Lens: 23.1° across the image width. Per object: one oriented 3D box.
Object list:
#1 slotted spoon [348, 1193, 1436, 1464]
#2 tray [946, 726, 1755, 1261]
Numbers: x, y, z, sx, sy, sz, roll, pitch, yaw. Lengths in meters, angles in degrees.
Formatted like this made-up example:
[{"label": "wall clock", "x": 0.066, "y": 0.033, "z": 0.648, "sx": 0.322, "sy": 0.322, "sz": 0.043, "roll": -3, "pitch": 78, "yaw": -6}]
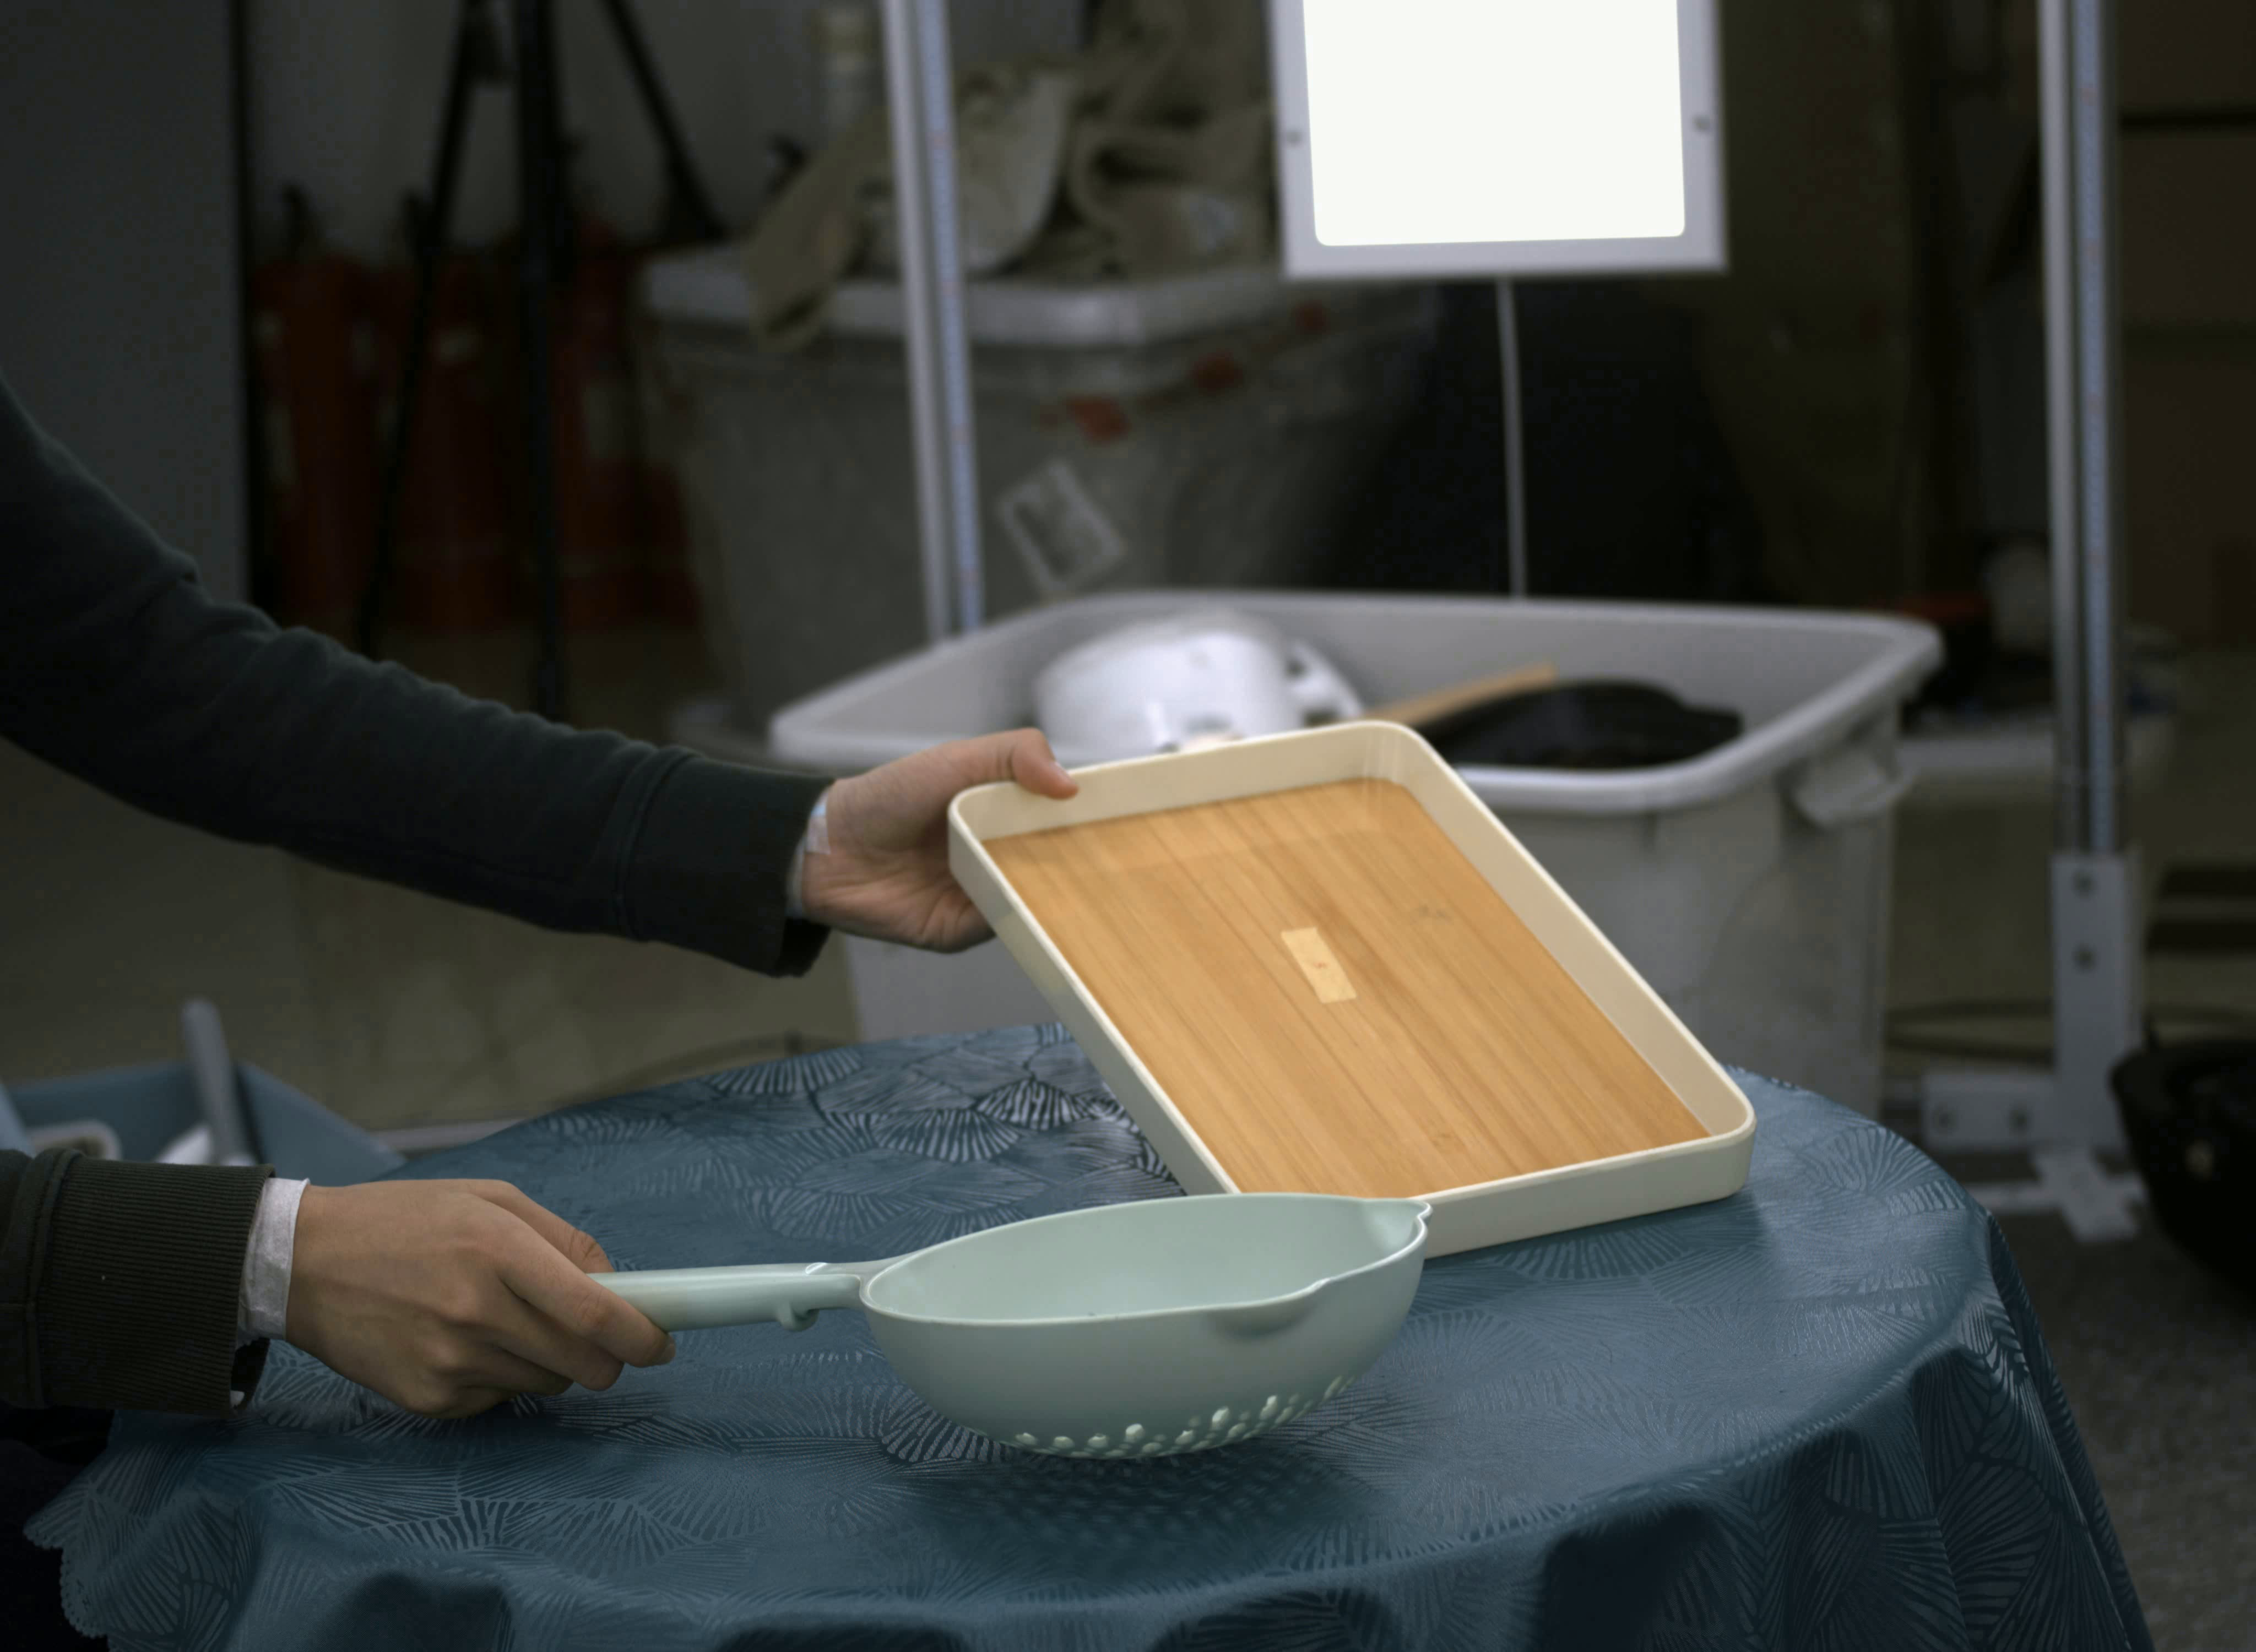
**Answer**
[{"label": "slotted spoon", "x": -0.082, "y": 0.147, "z": 1.681, "sx": 0.364, "sy": 0.075, "sz": 0.166, "roll": 4, "pitch": 10, "yaw": 24}, {"label": "tray", "x": 0.072, "y": 0.056, "z": 1.922, "sx": 0.188, "sy": 0.027, "sz": 0.303, "roll": -10, "pitch": 32, "yaw": -19}]
